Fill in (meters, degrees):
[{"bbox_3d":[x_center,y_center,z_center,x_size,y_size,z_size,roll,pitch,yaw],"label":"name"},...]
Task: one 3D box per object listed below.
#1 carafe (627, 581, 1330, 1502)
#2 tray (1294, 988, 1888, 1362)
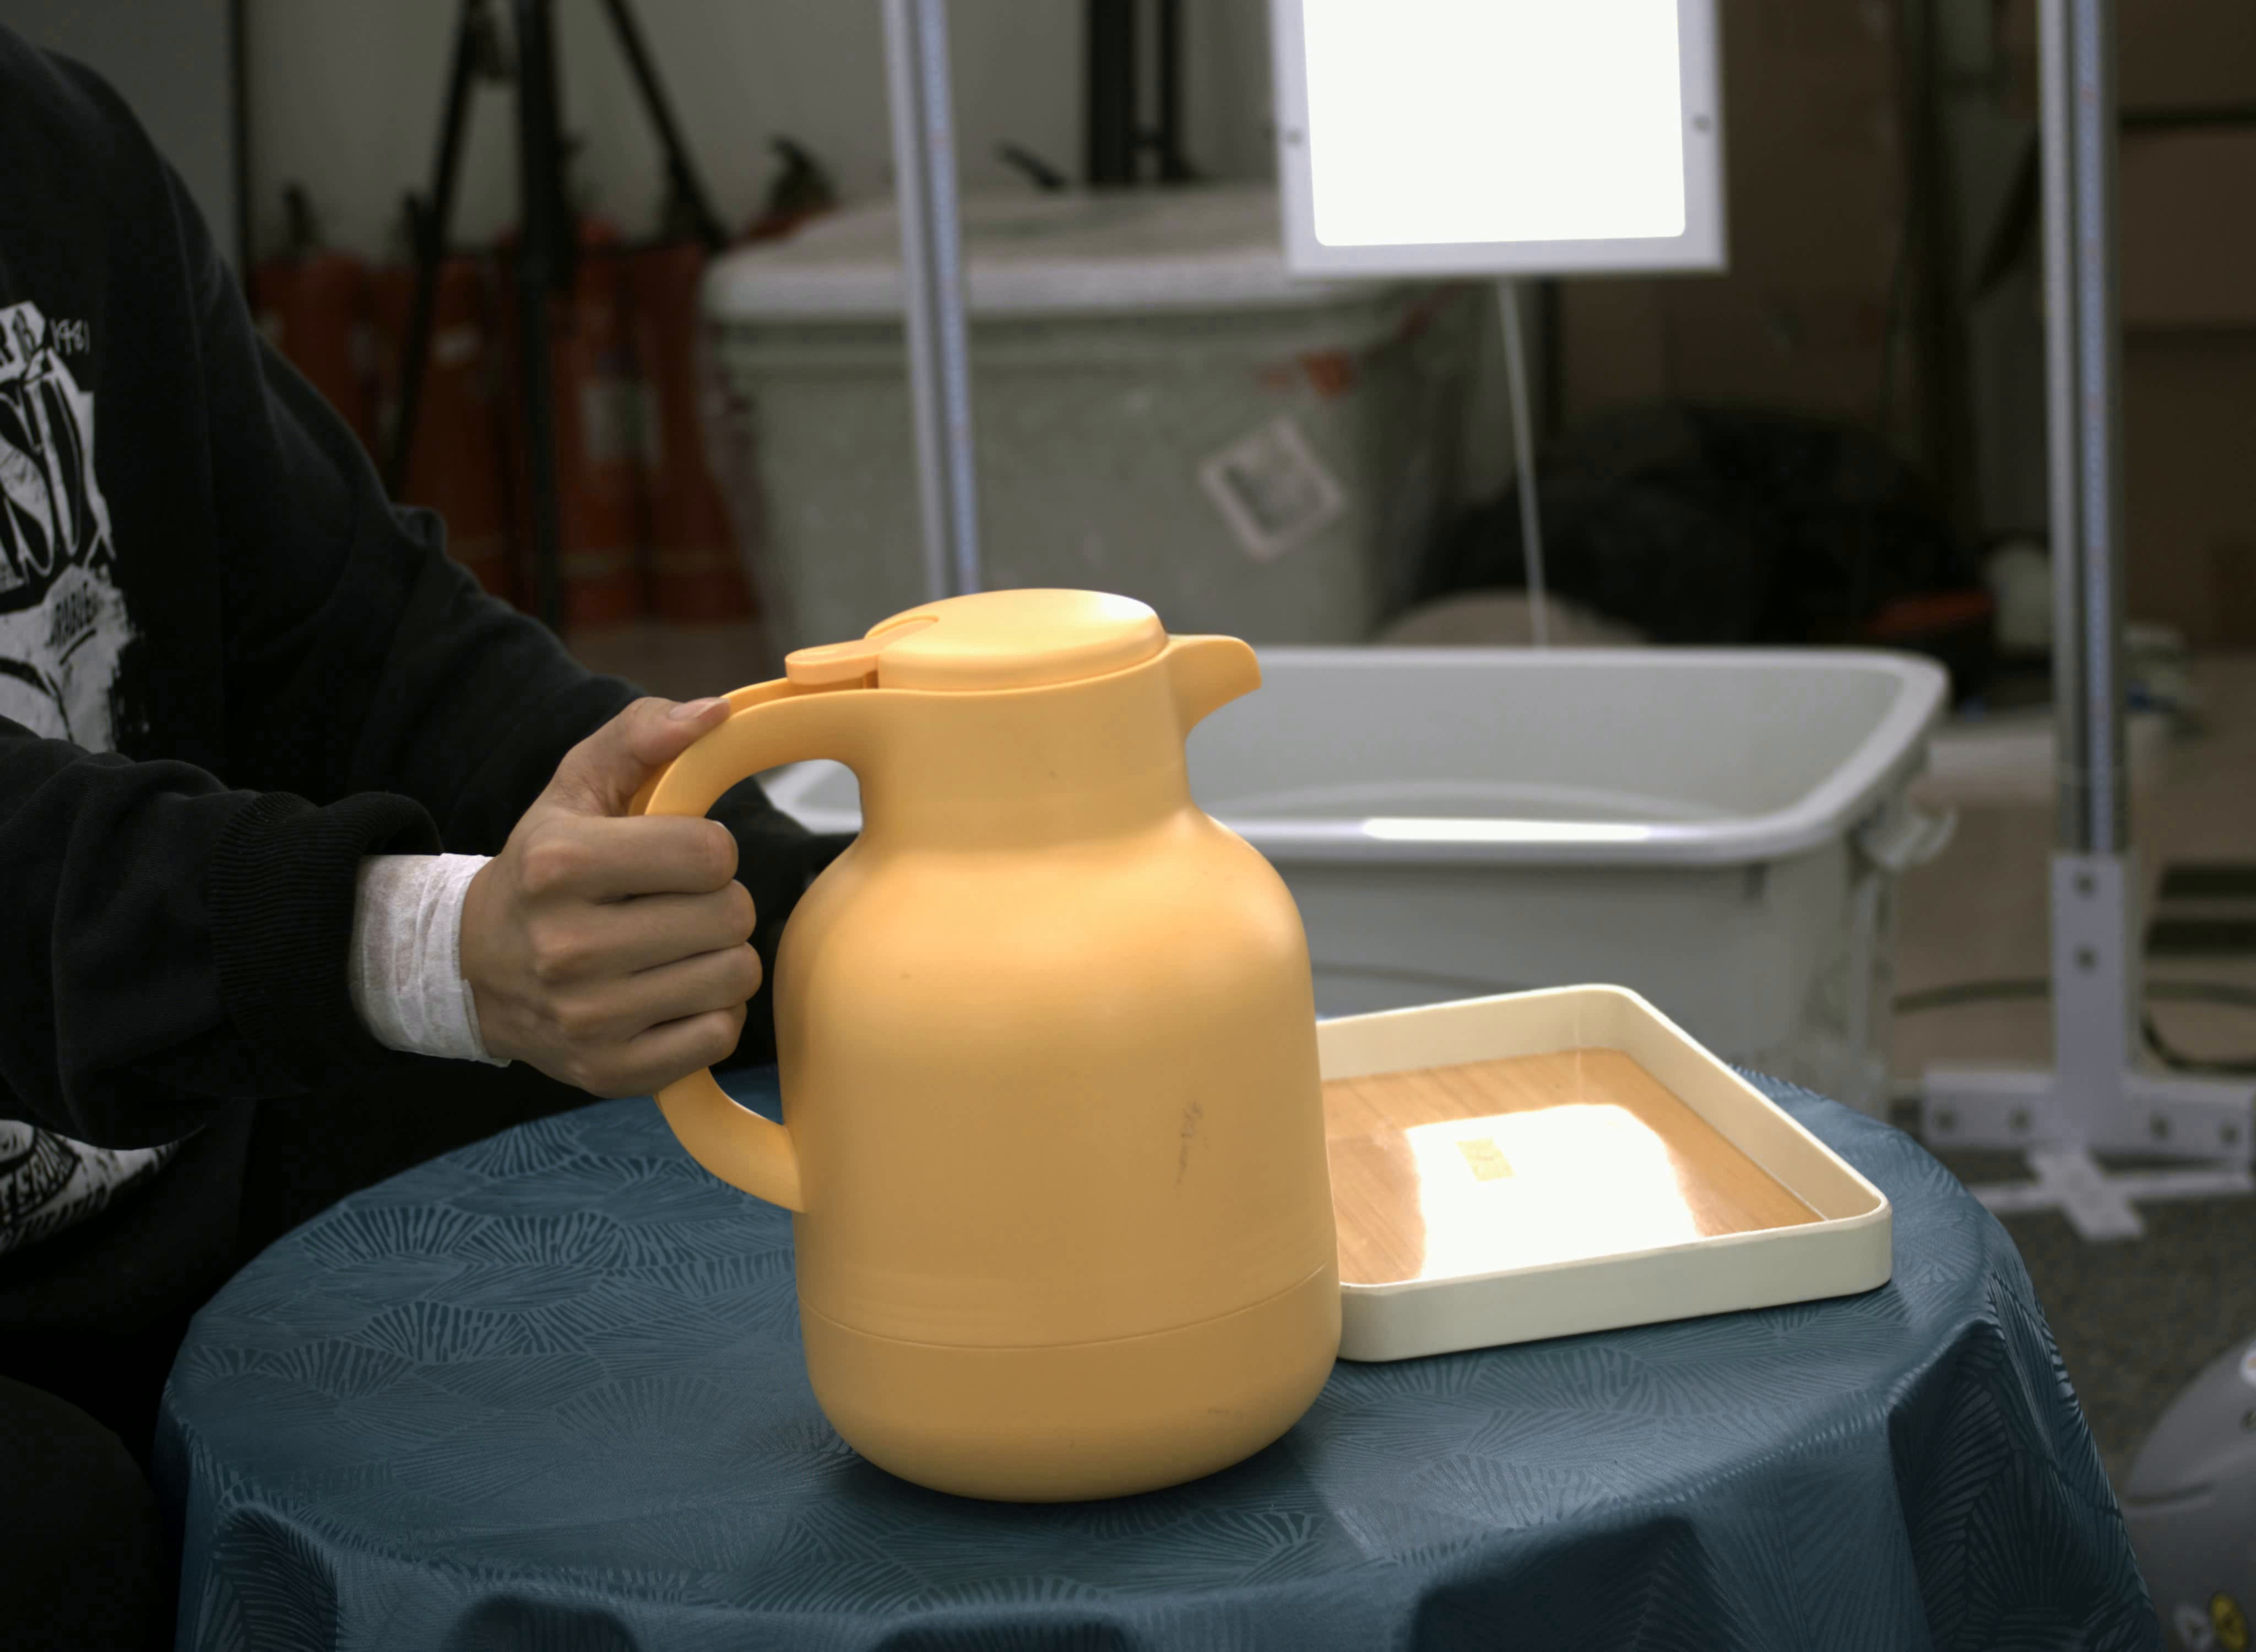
[{"bbox_3d":[-0.044,0.061,1.629,0.200,0.261,0.164,-5,12,-8],"label":"carafe"},{"bbox_3d":[0.122,0.113,1.853,0.189,0.027,0.302,-7,14,-10],"label":"tray"}]
